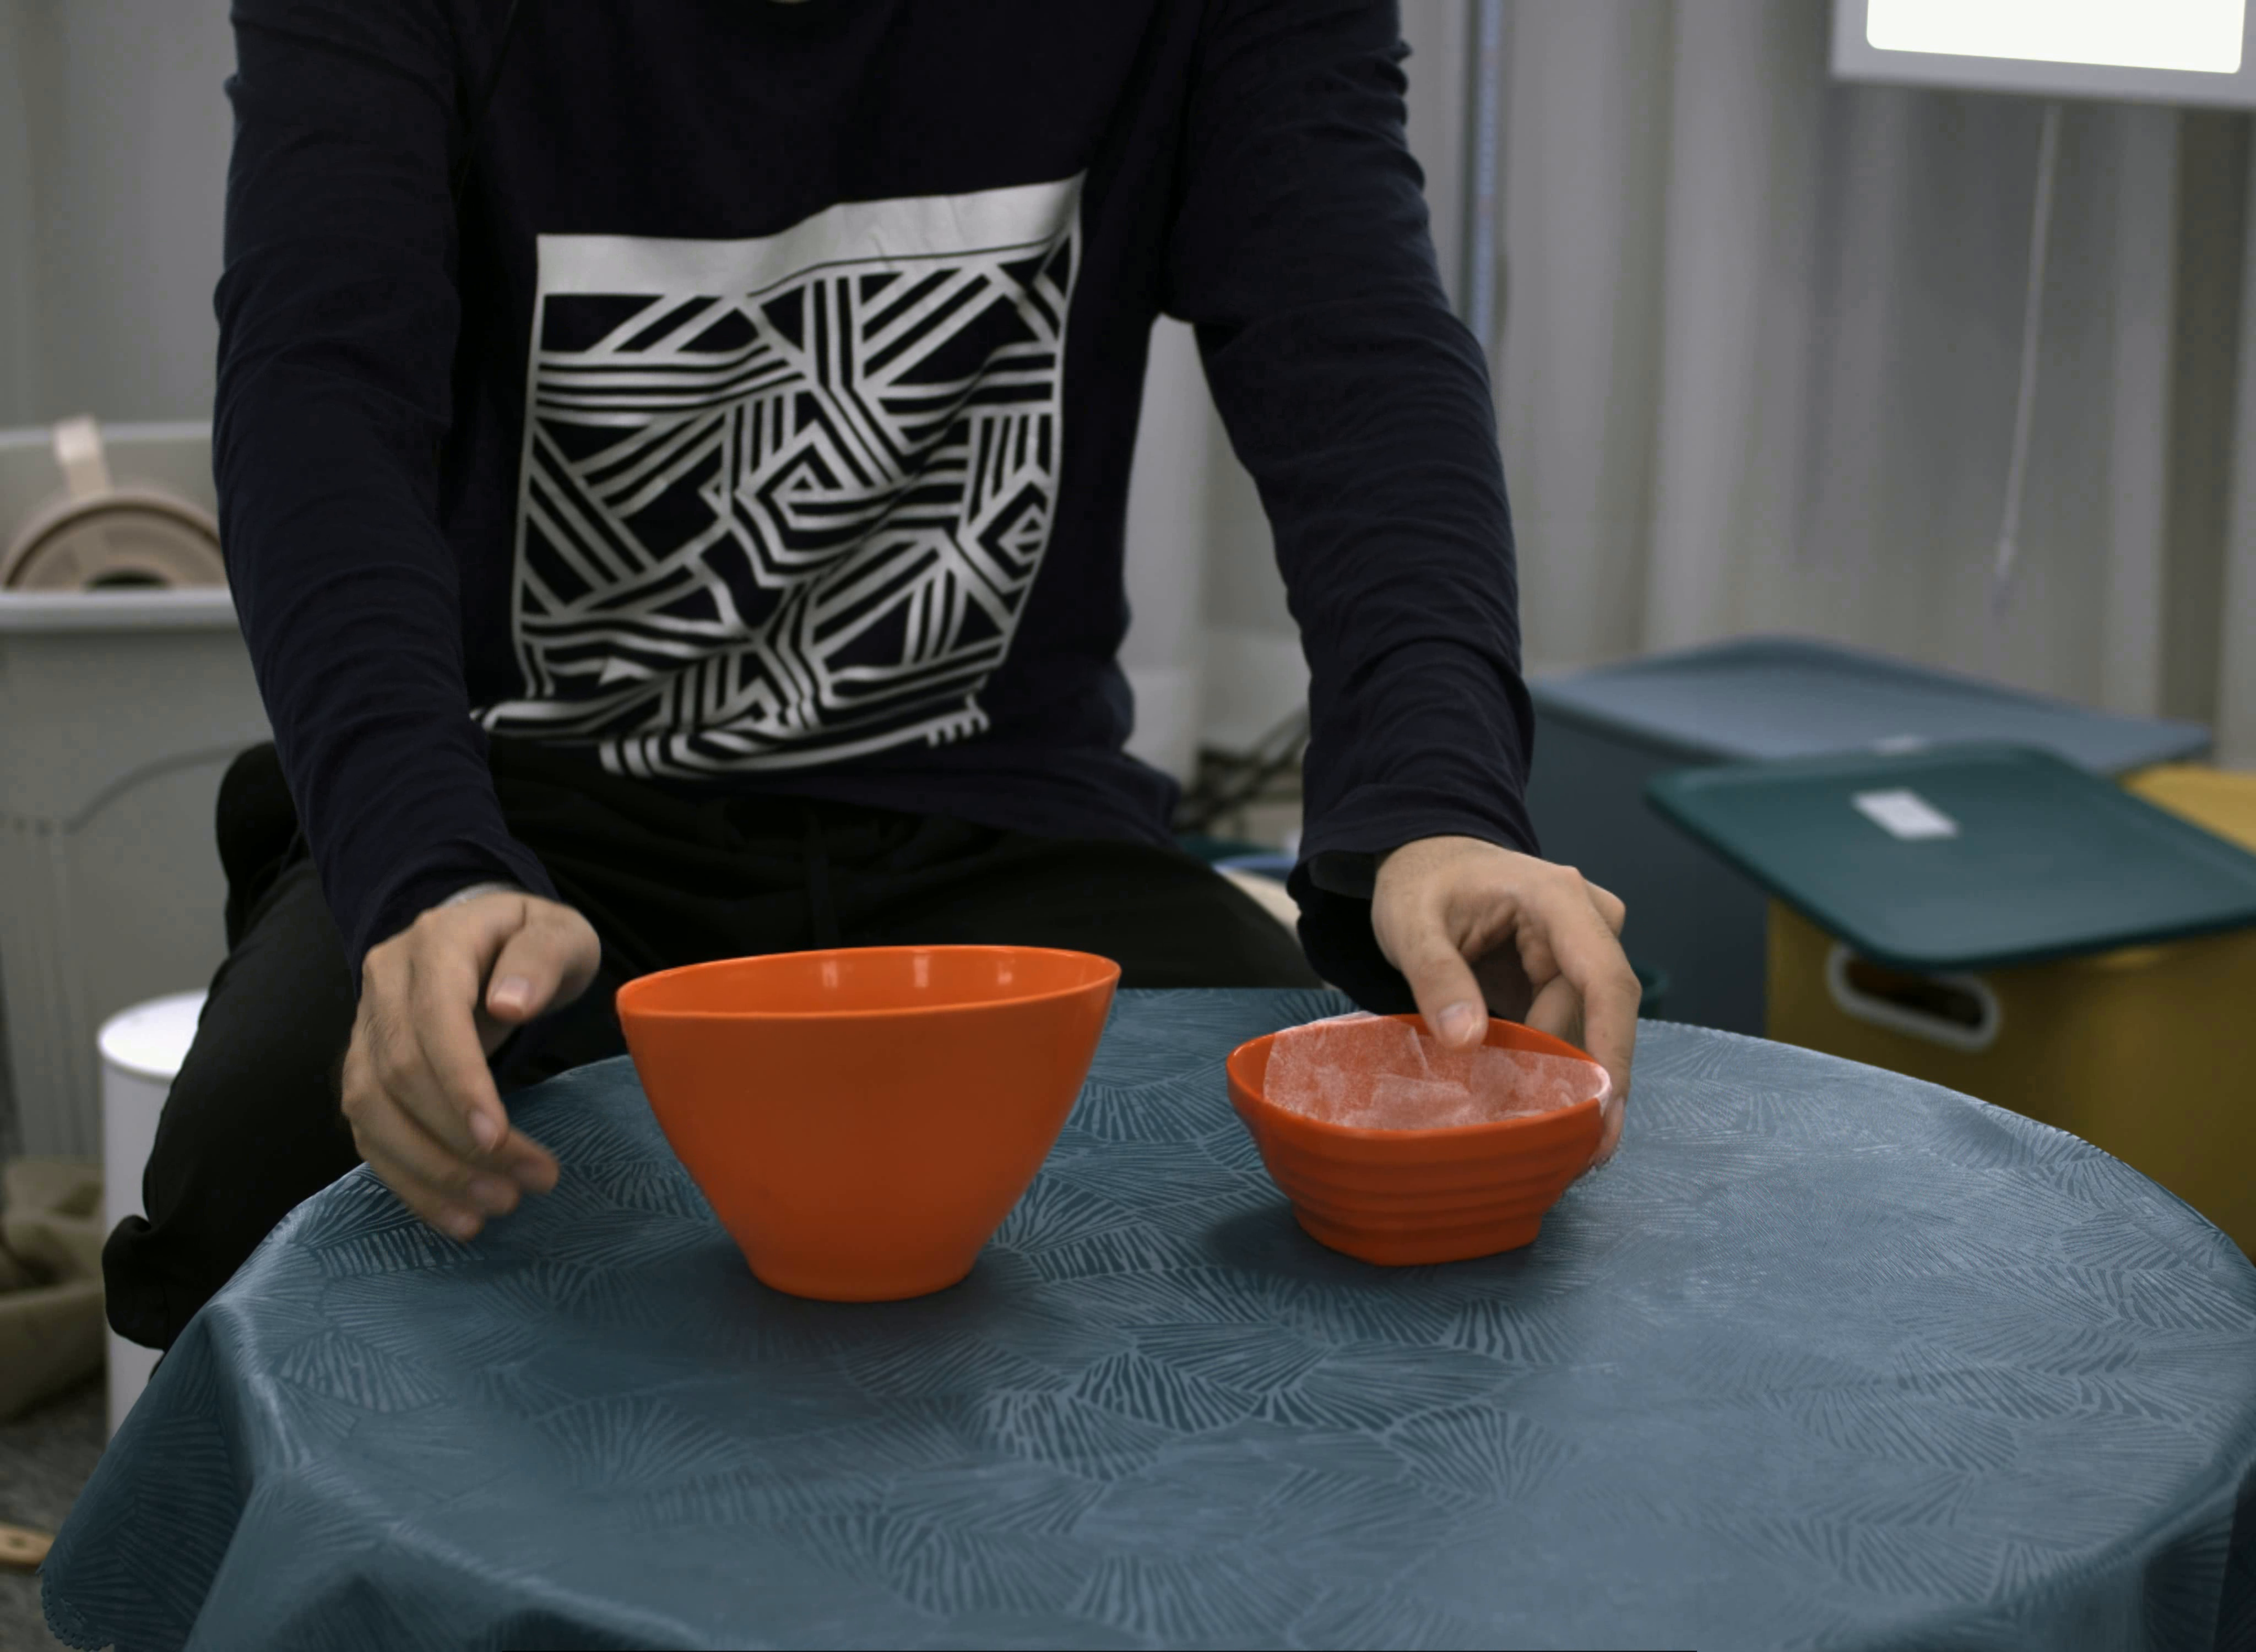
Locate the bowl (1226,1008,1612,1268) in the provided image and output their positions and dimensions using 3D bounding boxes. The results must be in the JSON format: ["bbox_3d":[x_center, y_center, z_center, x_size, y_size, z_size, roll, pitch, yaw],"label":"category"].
[{"bbox_3d":[0.087,0.096,1.590,0.118,0.052,0.118,-1,17,1],"label":"bowl"}]

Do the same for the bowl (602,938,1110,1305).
[{"bbox_3d":[-0.079,0.084,1.534,0.147,0.105,0.147,0,16,1],"label":"bowl"}]
